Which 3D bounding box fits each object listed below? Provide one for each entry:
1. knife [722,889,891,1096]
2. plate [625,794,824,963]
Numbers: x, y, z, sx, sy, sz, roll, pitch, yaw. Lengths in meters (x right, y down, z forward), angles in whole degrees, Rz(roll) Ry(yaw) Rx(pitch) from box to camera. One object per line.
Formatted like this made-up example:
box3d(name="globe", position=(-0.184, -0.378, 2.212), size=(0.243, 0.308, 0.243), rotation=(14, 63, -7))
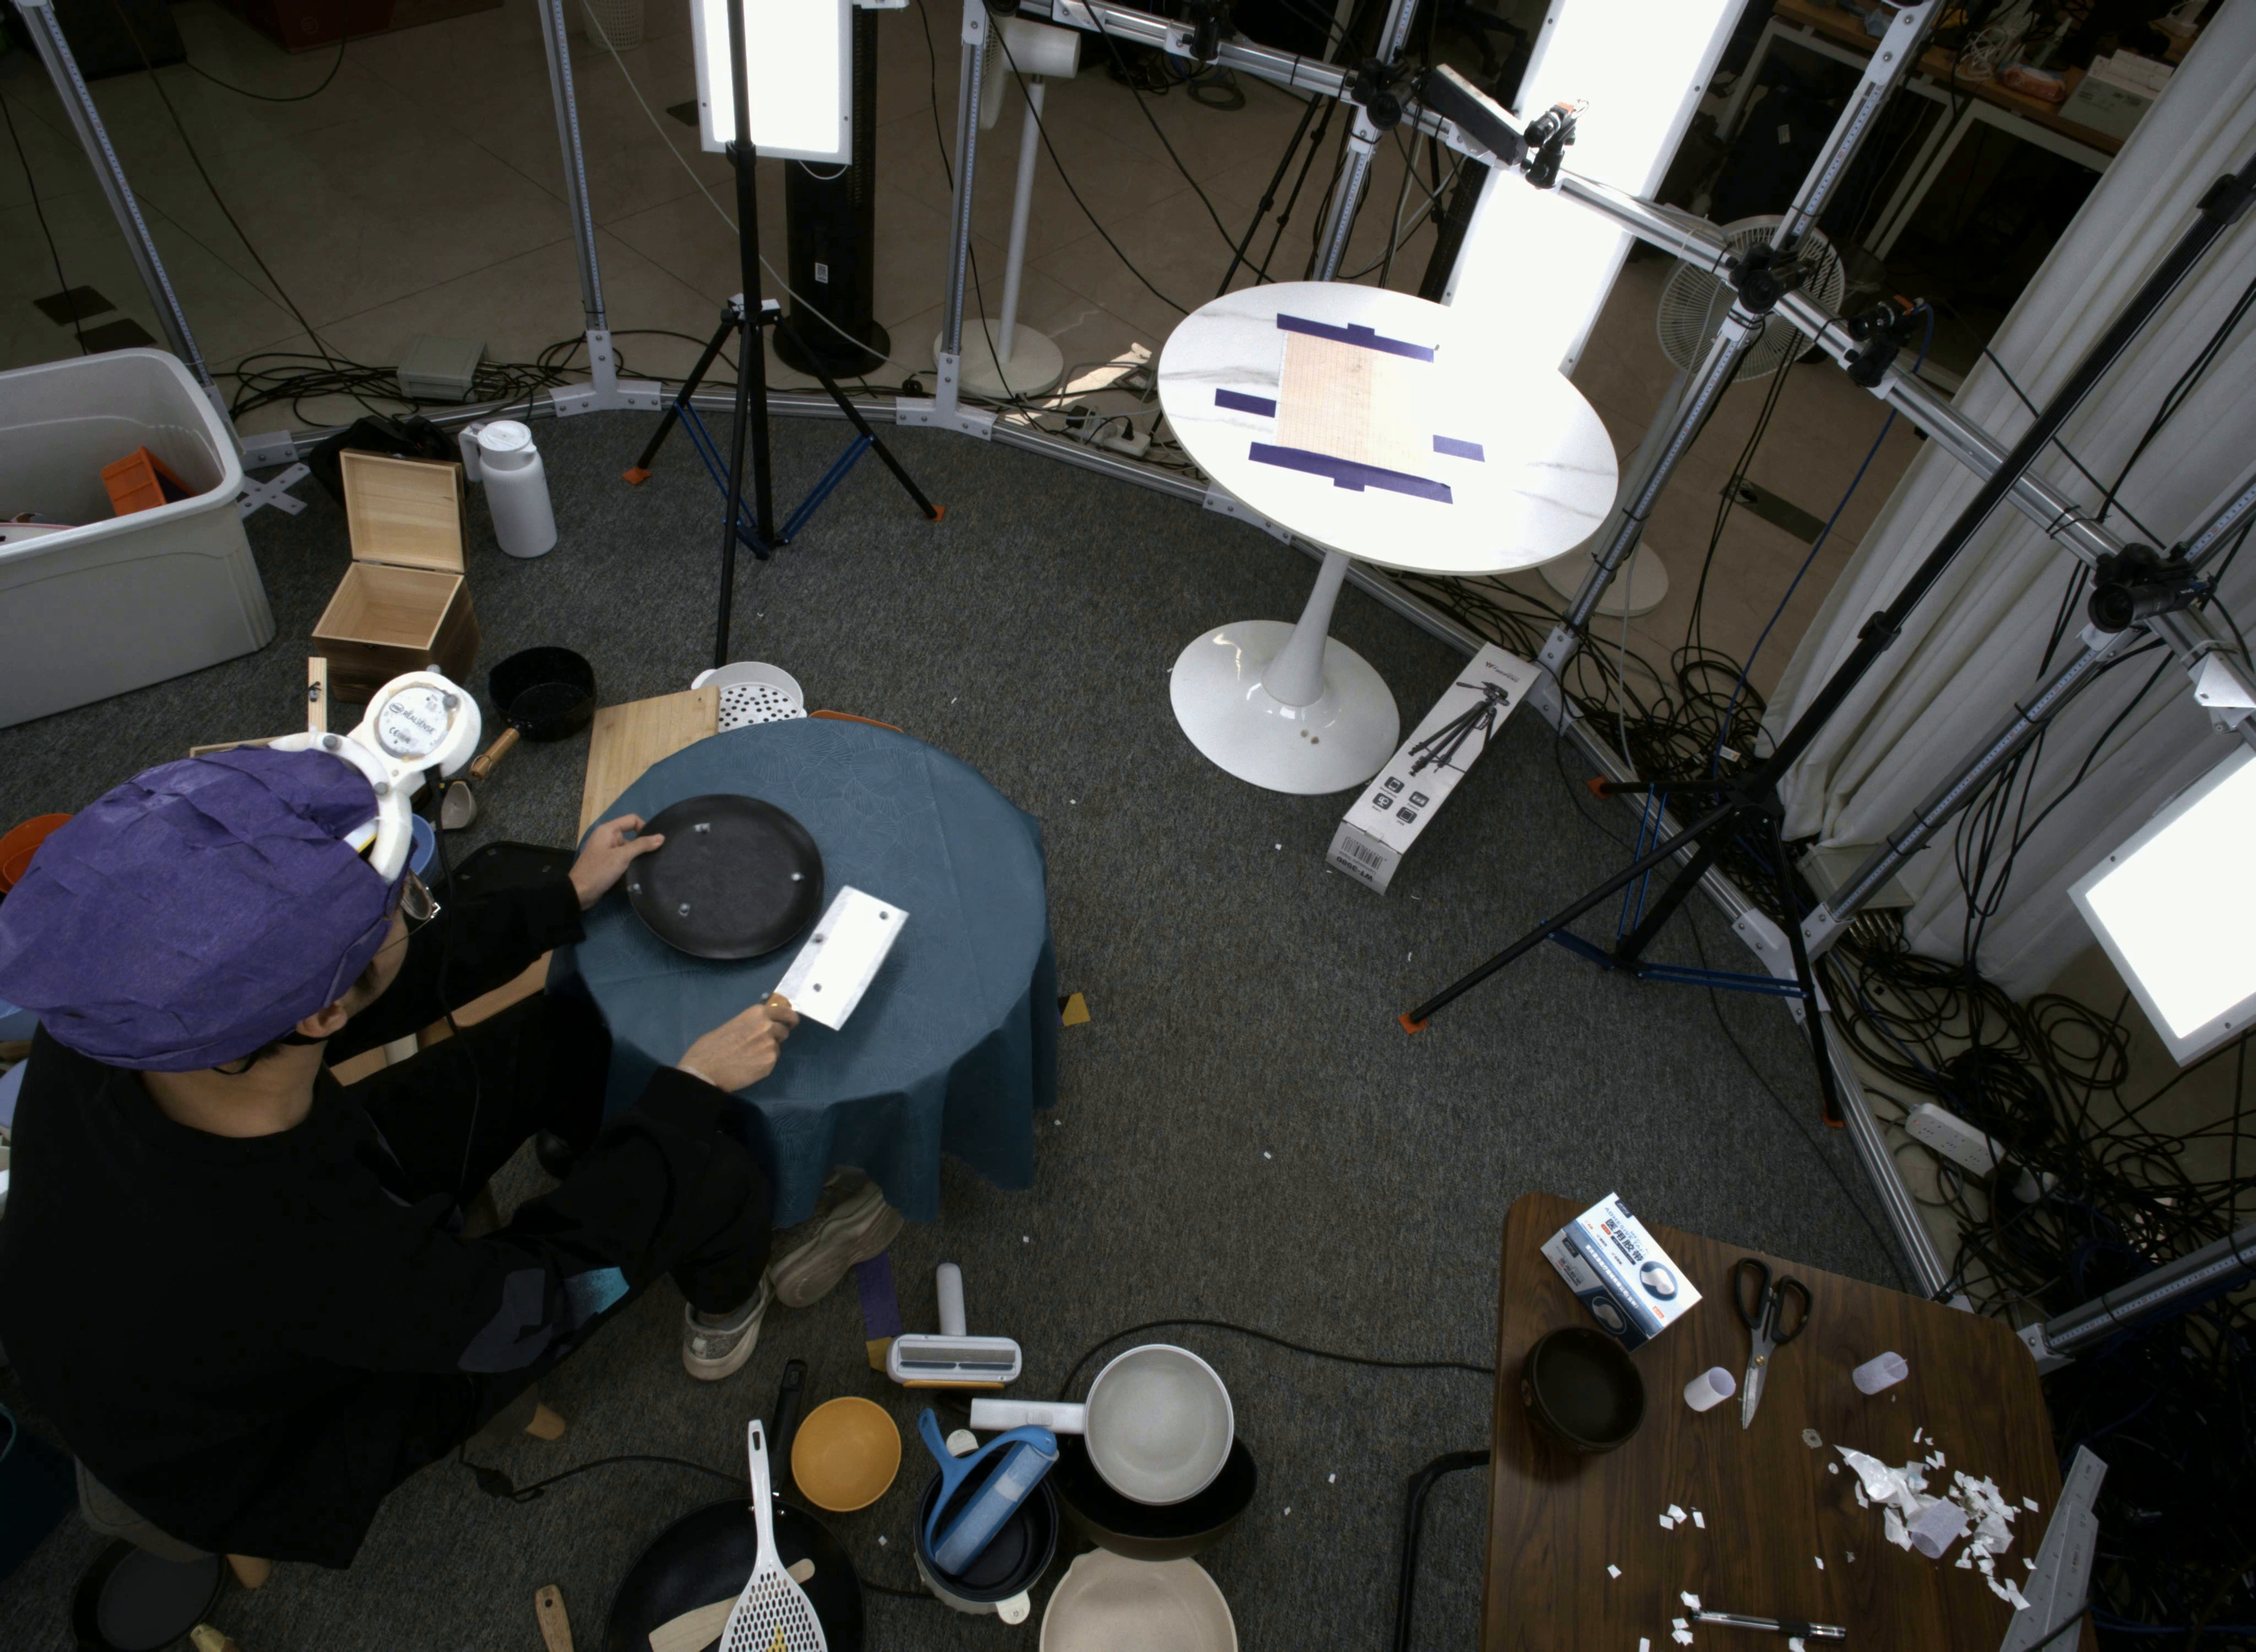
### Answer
box3d(name="knife", position=(-0.362, 0.191, 1.503), size=(0.092, 0.021, 0.303), rotation=(23, 48, 0))
box3d(name="plate", position=(-0.503, 0.065, 1.614), size=(0.246, 0.023, 0.240), rotation=(12, 54, -15))
